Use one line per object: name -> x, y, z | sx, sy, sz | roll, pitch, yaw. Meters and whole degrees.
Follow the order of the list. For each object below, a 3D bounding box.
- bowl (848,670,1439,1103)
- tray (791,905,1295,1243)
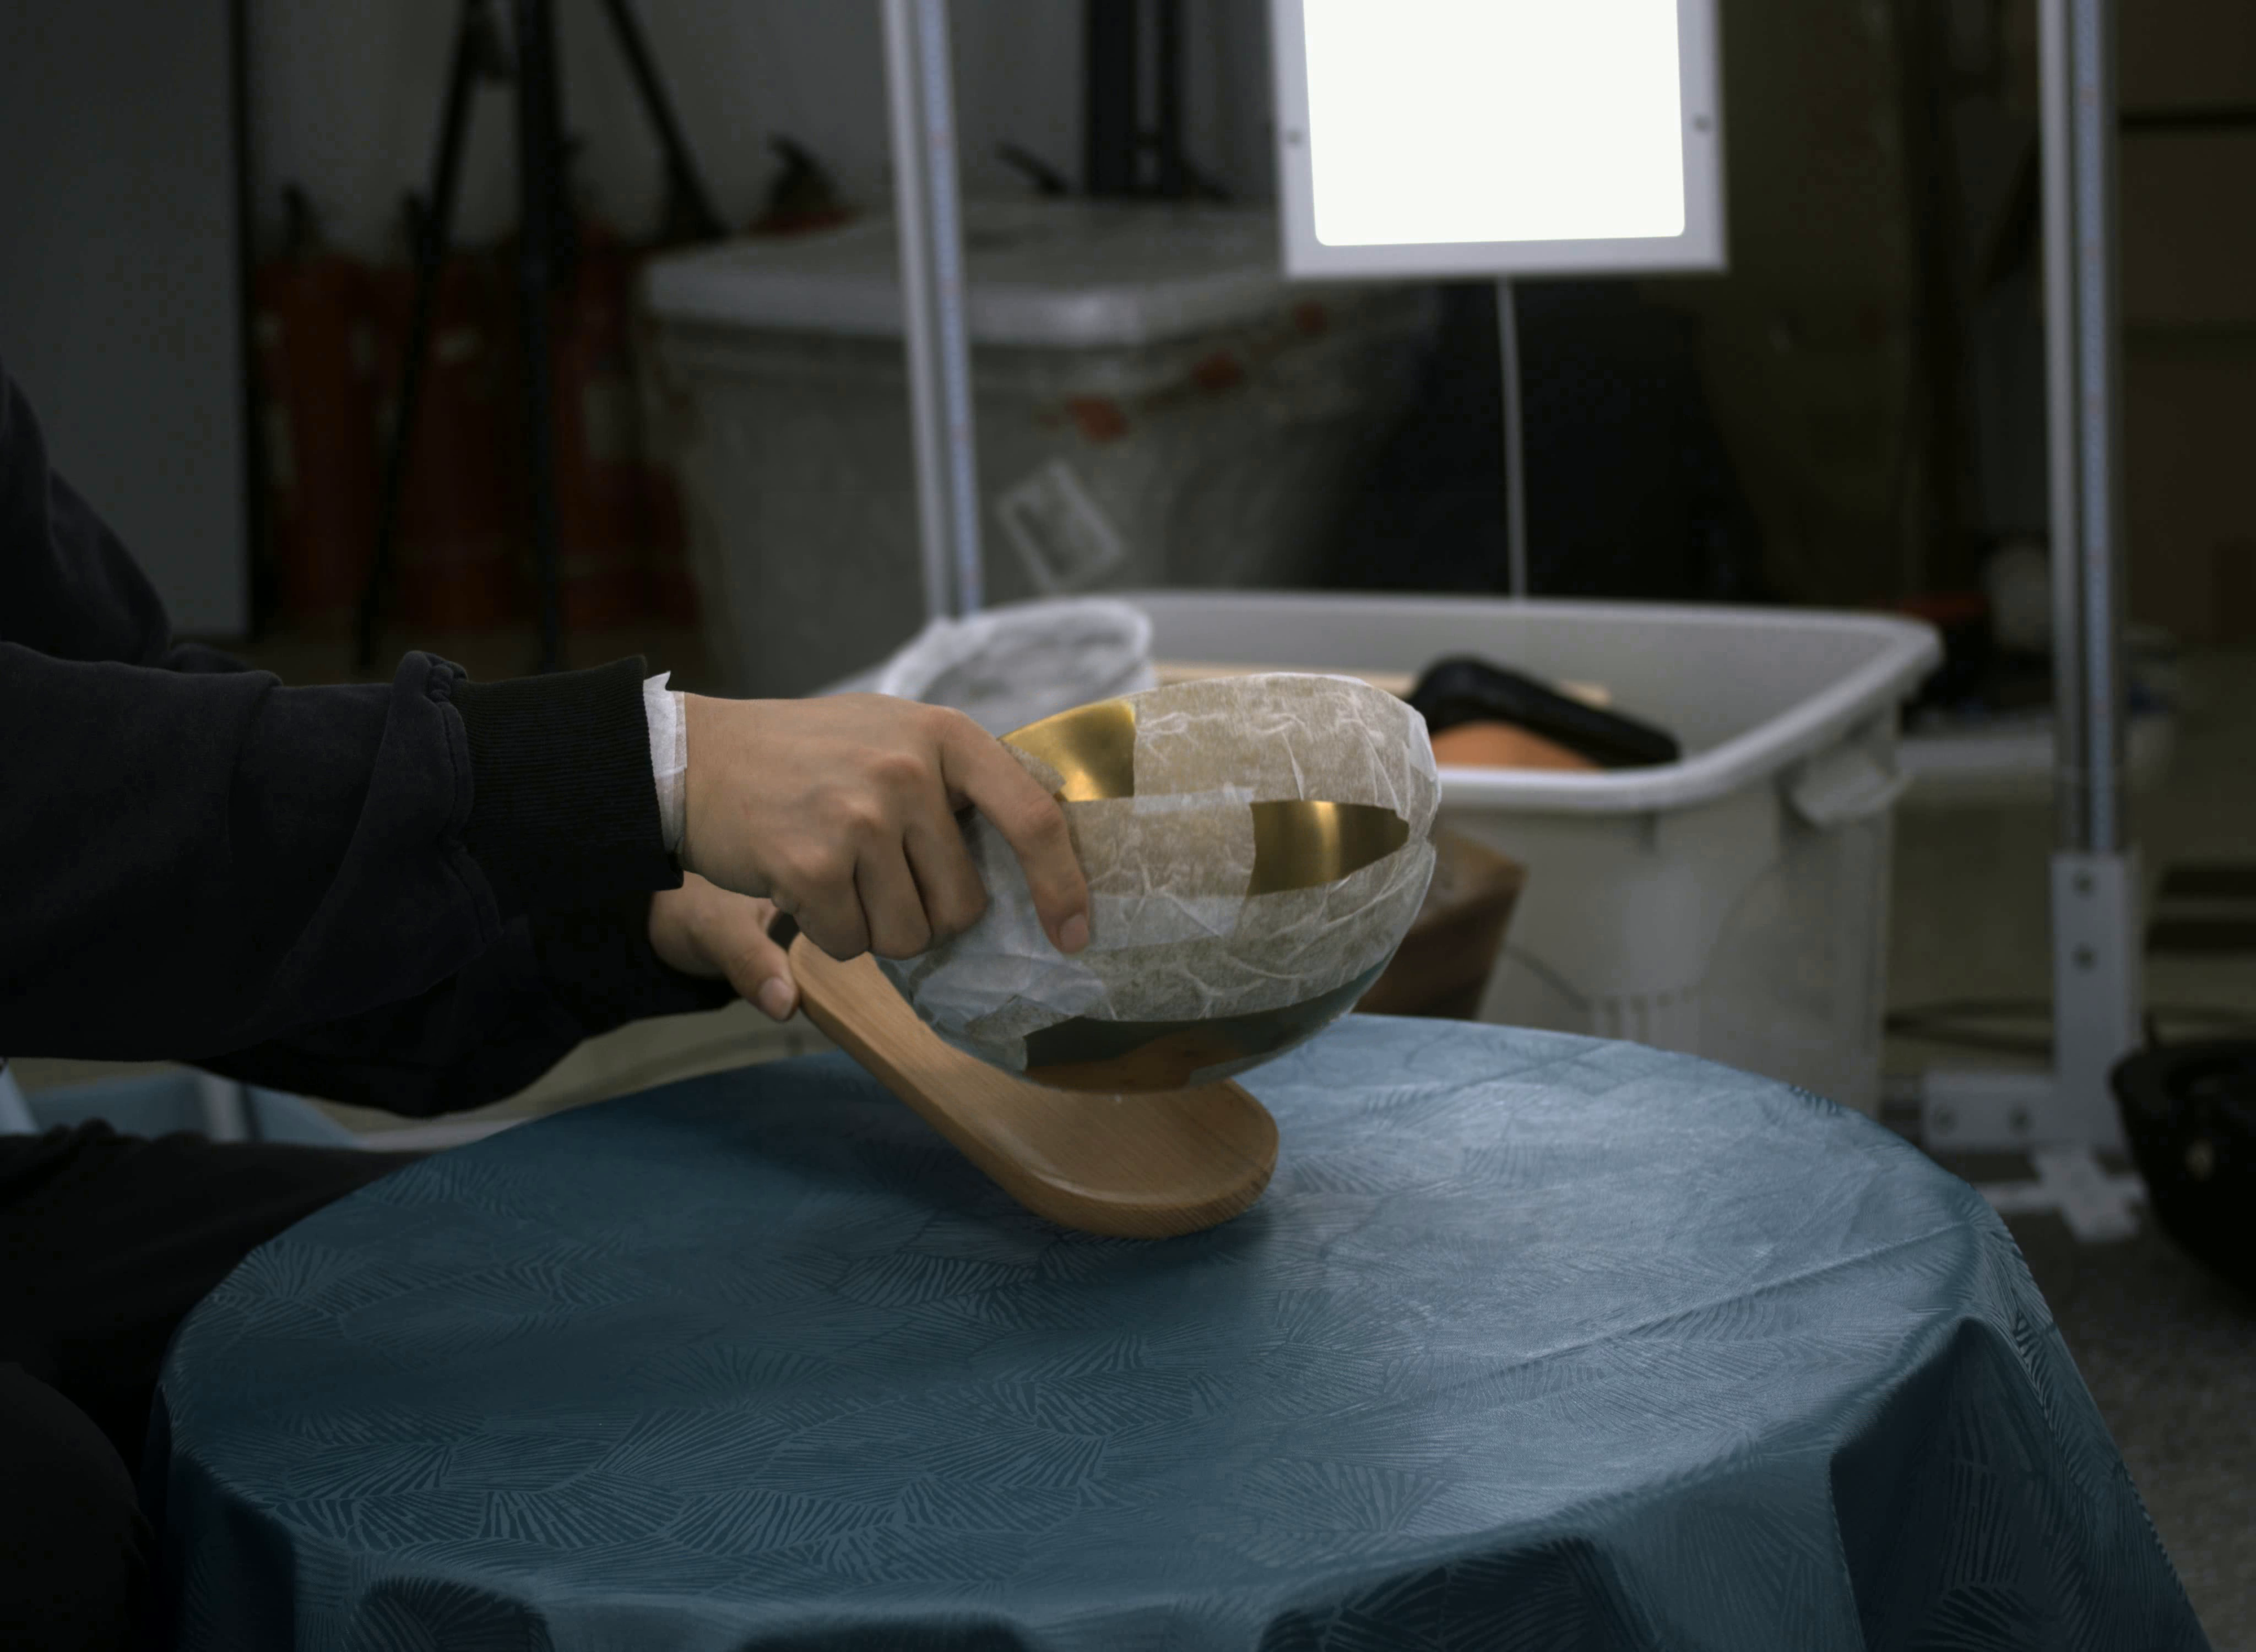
bowl -> 0.012, 0.036, 1.827 | 0.213, 0.095, 0.215 | -12, -22, -7
tray -> -0.032, 0.083, 1.928 | 0.099, 0.020, 0.235 | -19, 36, -30
